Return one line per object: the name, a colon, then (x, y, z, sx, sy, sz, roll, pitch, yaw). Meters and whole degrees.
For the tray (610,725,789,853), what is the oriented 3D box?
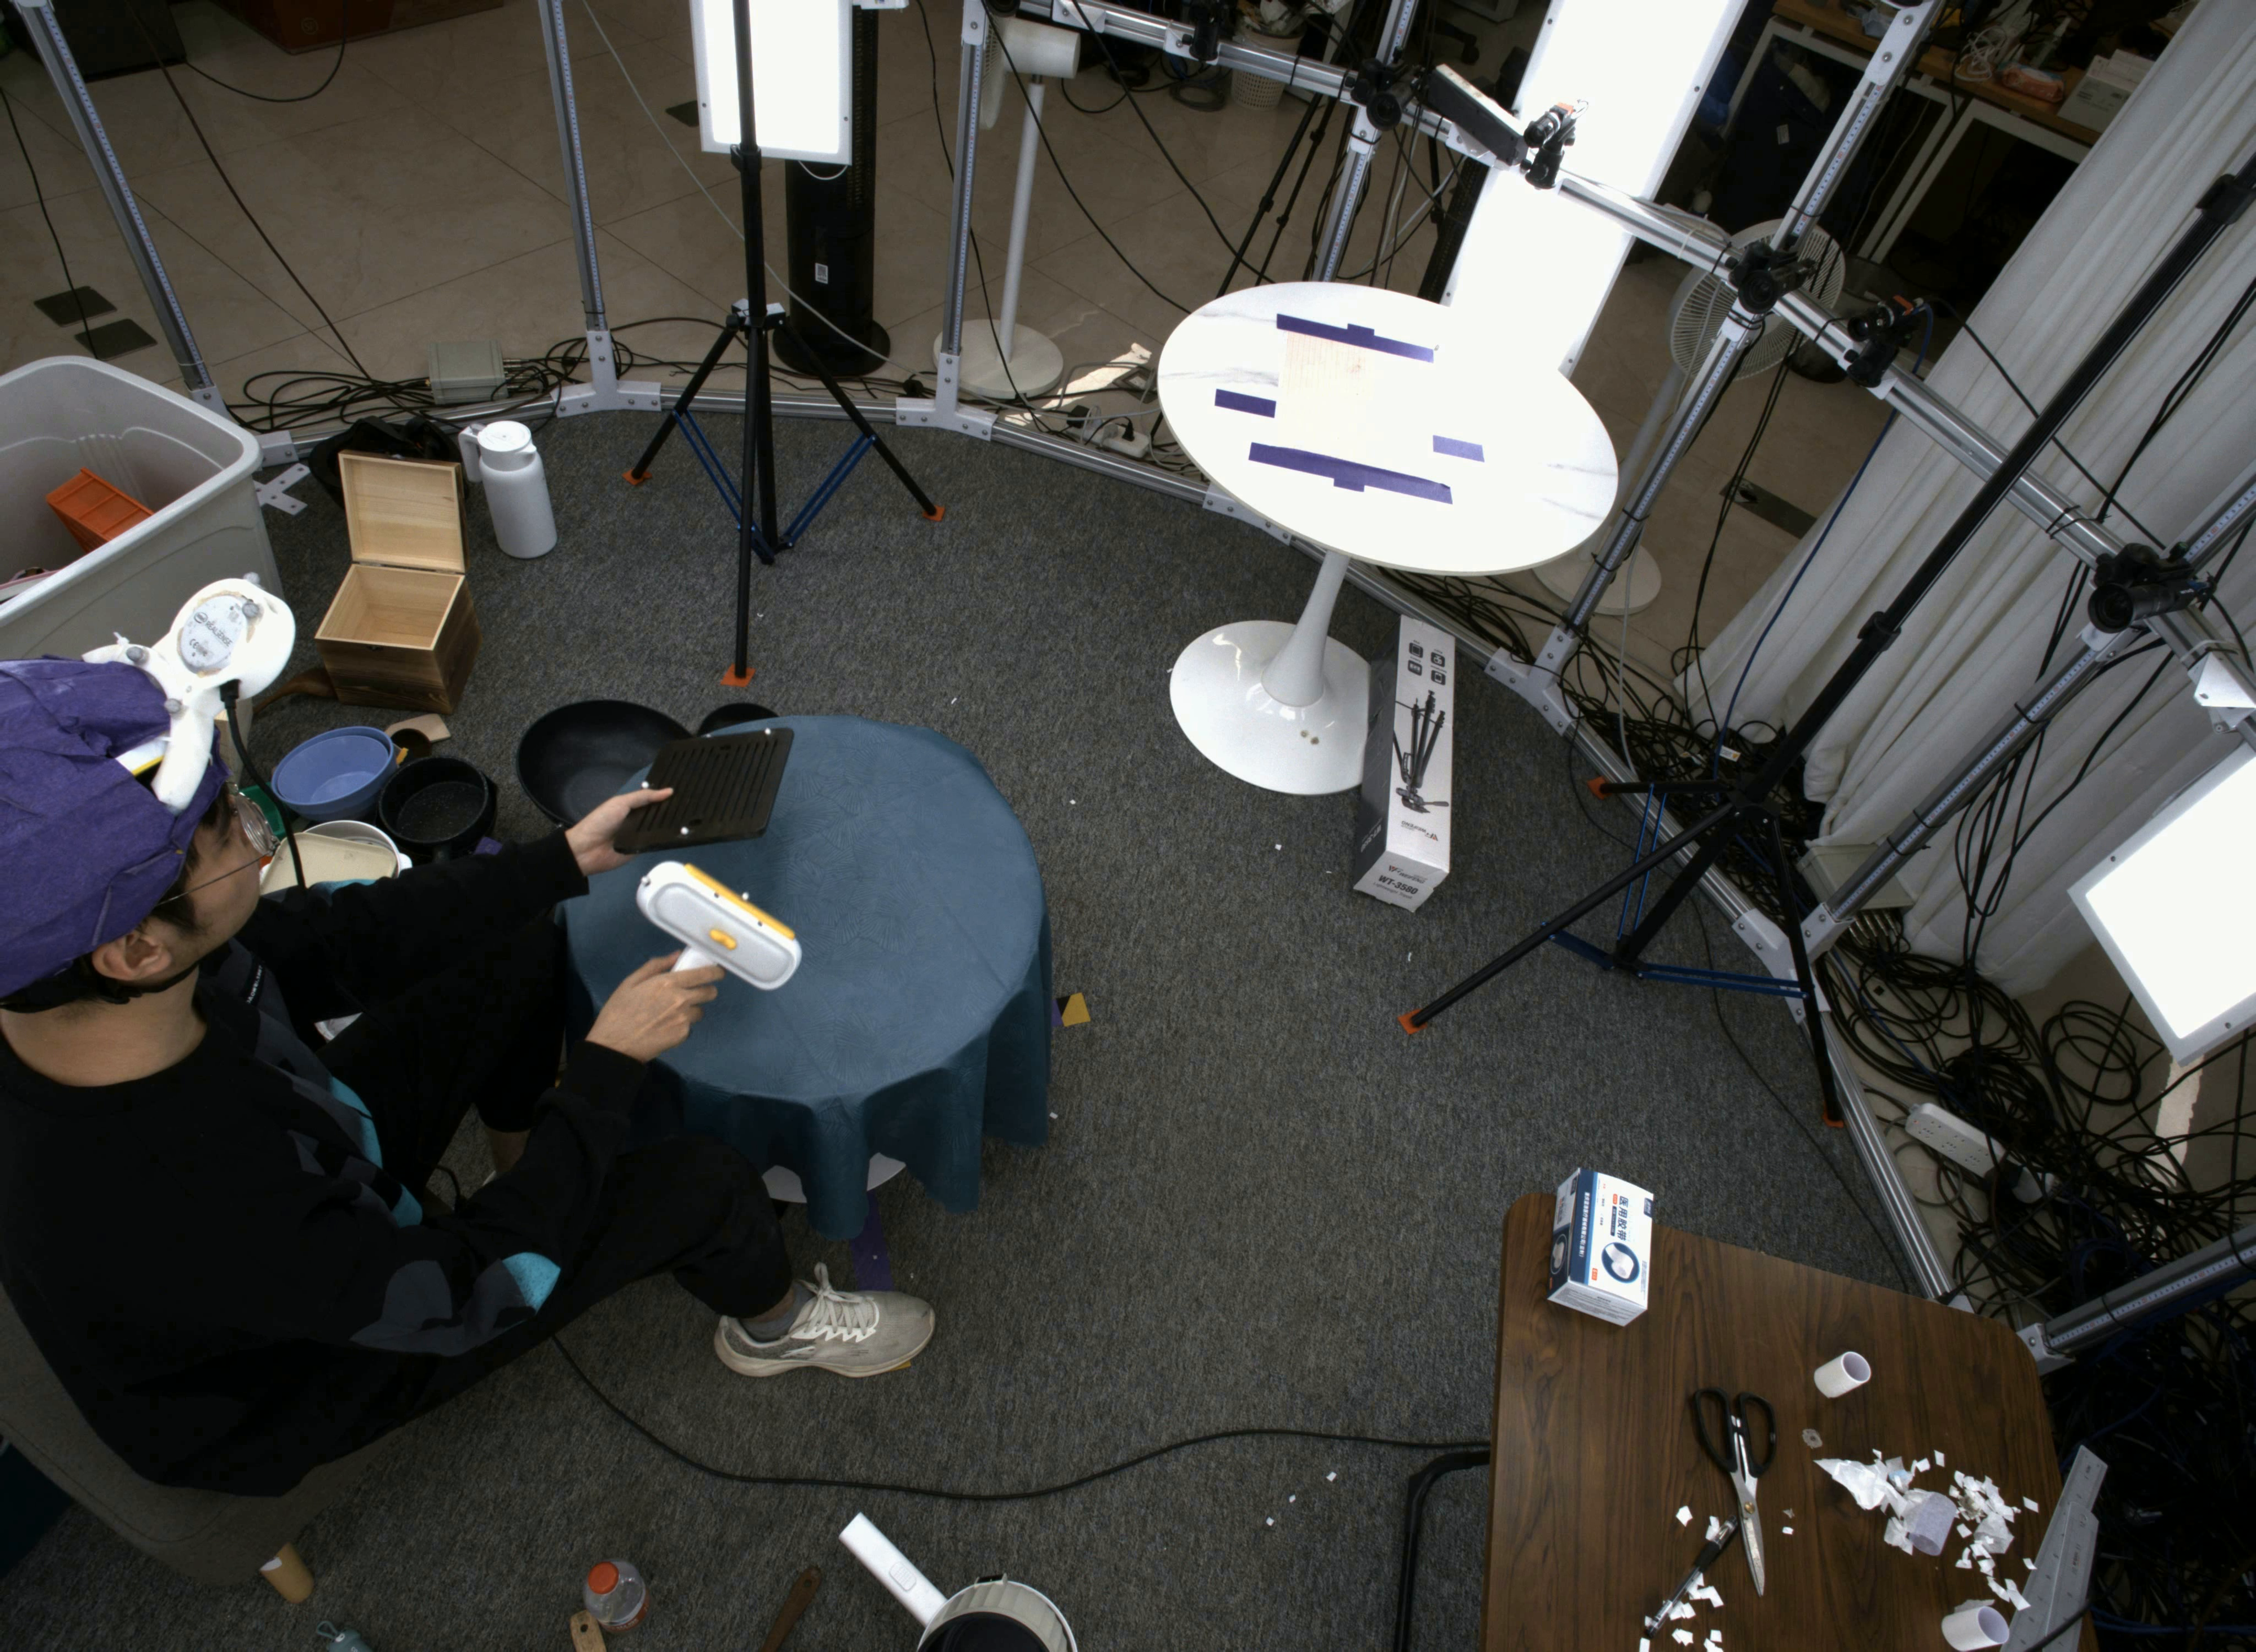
tray: (-0.503, -0.049, 1.536, 0.169, 0.019, 0.298, -6, 28, -4)

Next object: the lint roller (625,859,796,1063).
lint roller: (-0.472, 0.156, 1.374, 0.199, 0.071, 0.193, 35, 85, -34)
